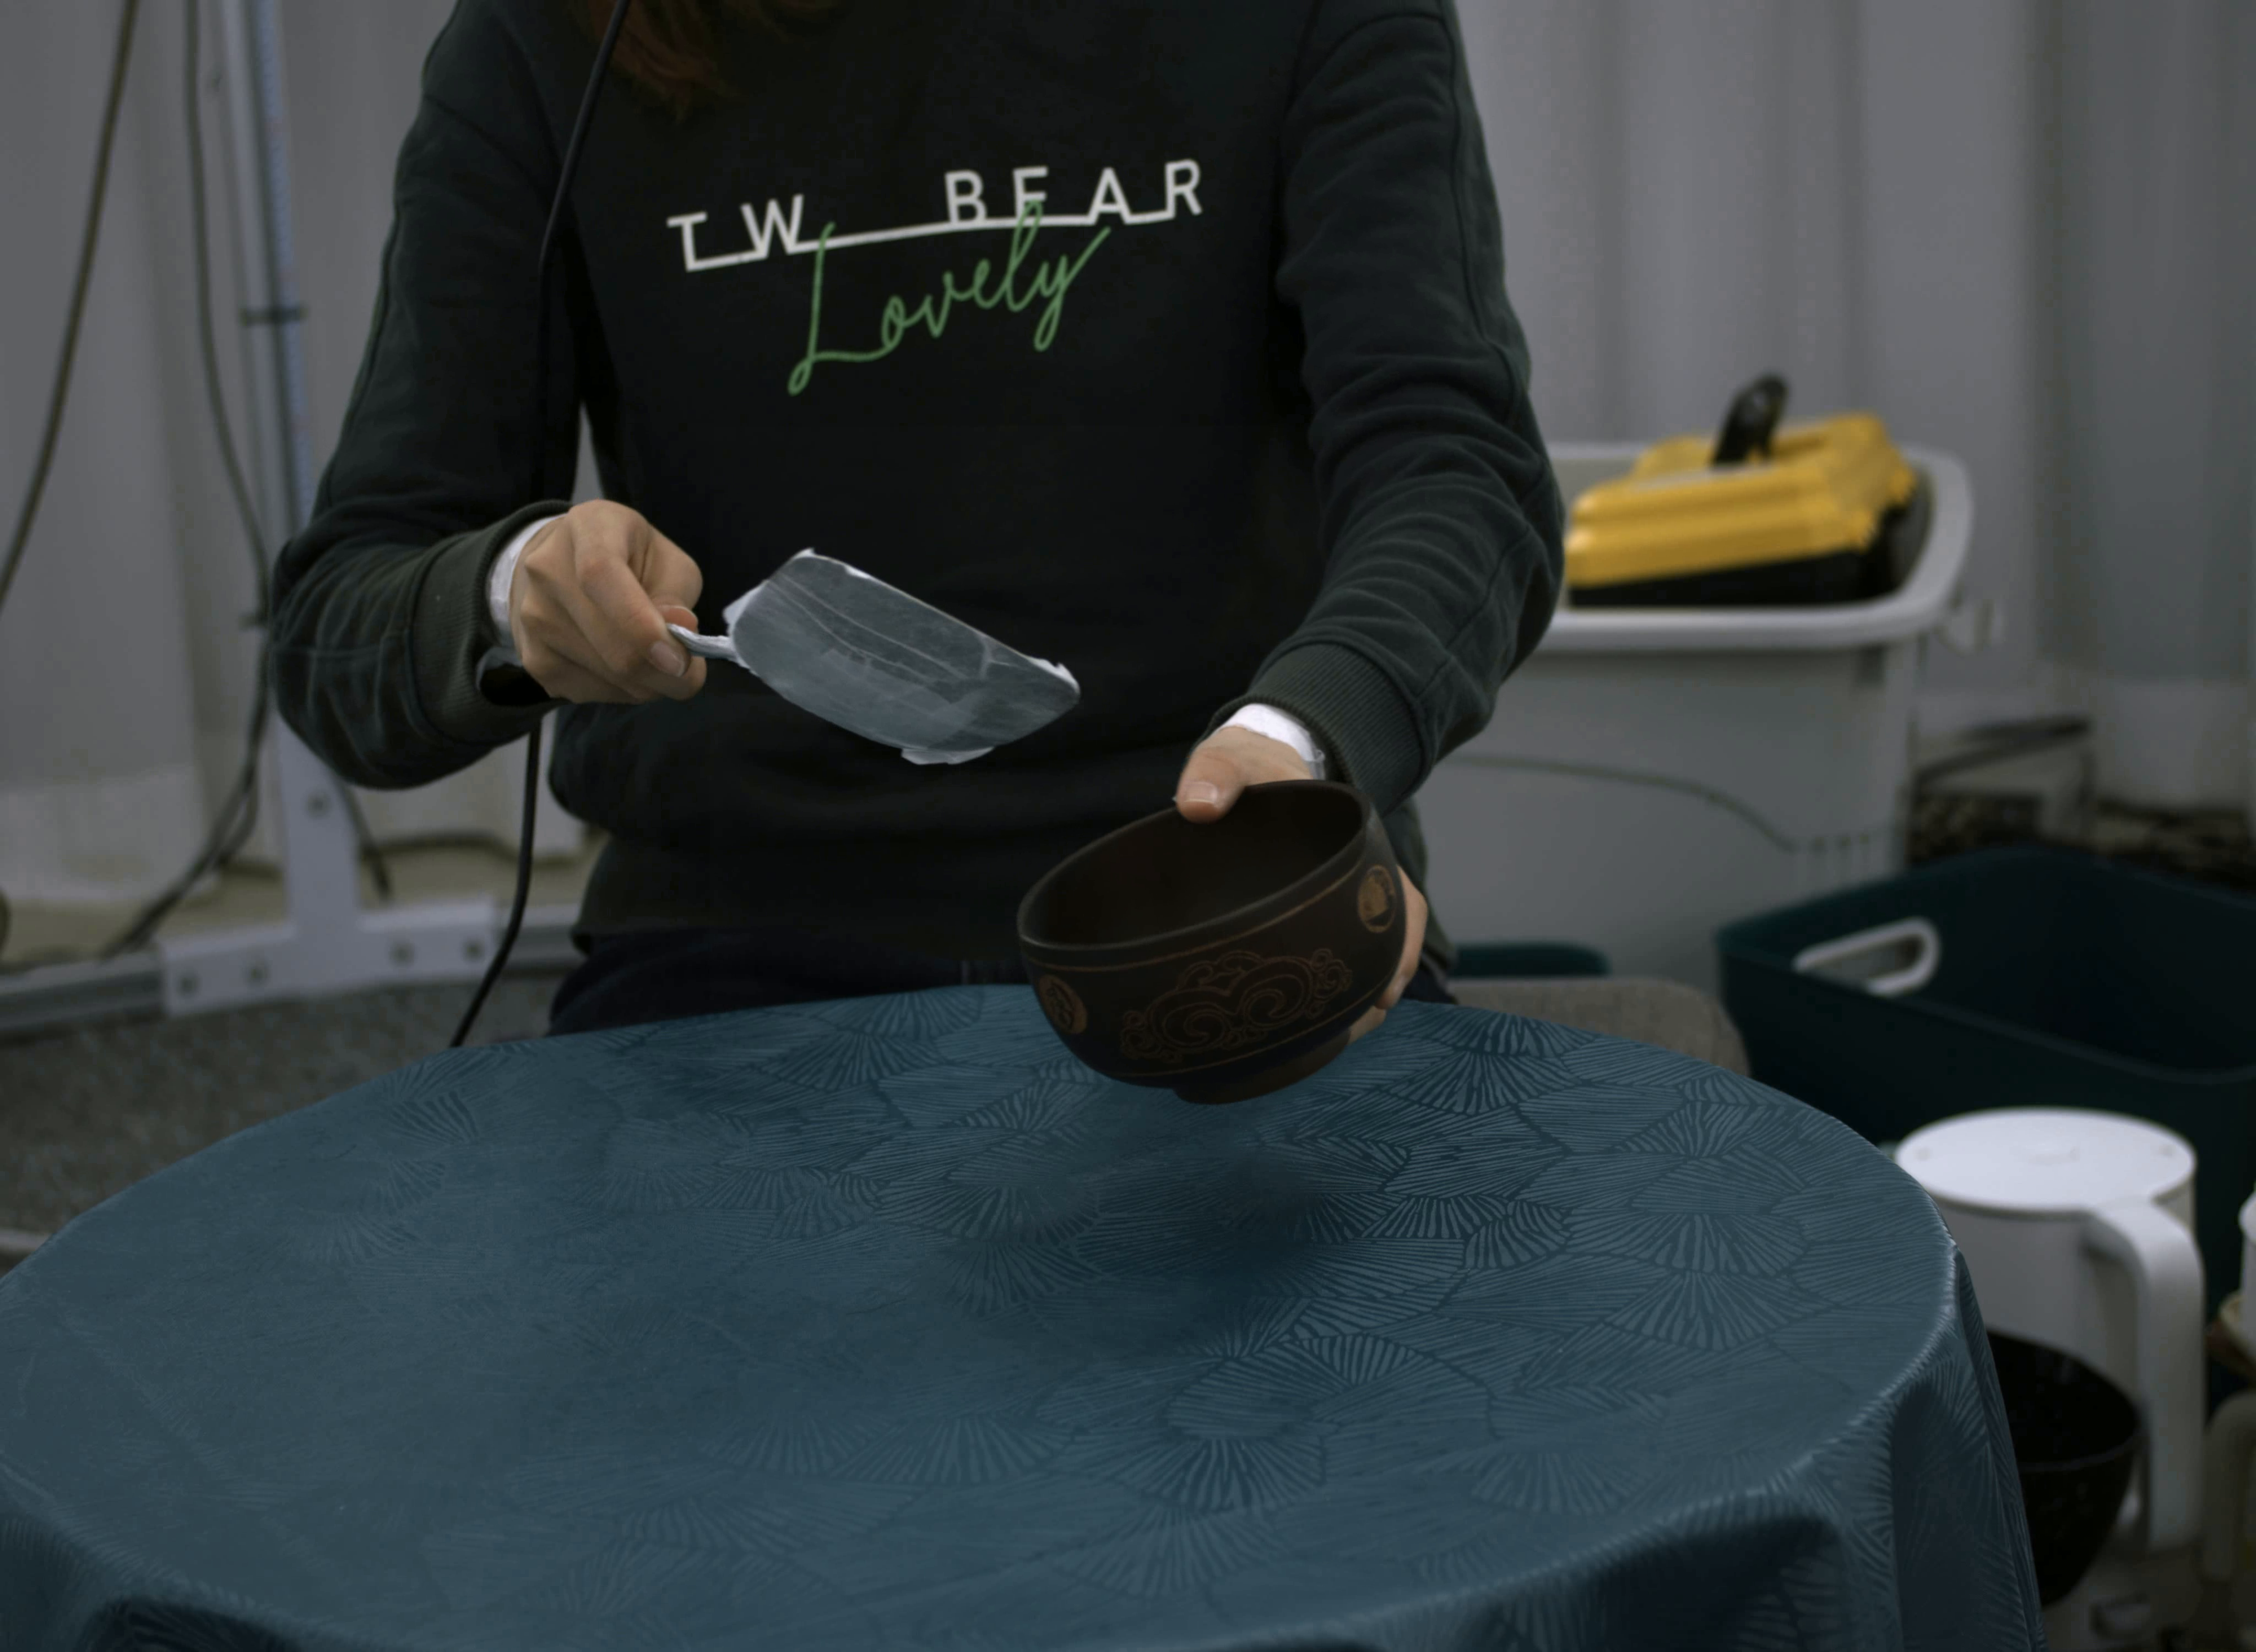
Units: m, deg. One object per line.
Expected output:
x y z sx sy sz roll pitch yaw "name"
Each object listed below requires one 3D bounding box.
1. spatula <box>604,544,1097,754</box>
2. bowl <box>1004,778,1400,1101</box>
-0.112 -0.056 1.742 0.098 0.045 0.366 26 -5 -20 "spatula"
0.027 0.040 1.656 0.118 0.069 0.119 -16 17 5 "bowl"
